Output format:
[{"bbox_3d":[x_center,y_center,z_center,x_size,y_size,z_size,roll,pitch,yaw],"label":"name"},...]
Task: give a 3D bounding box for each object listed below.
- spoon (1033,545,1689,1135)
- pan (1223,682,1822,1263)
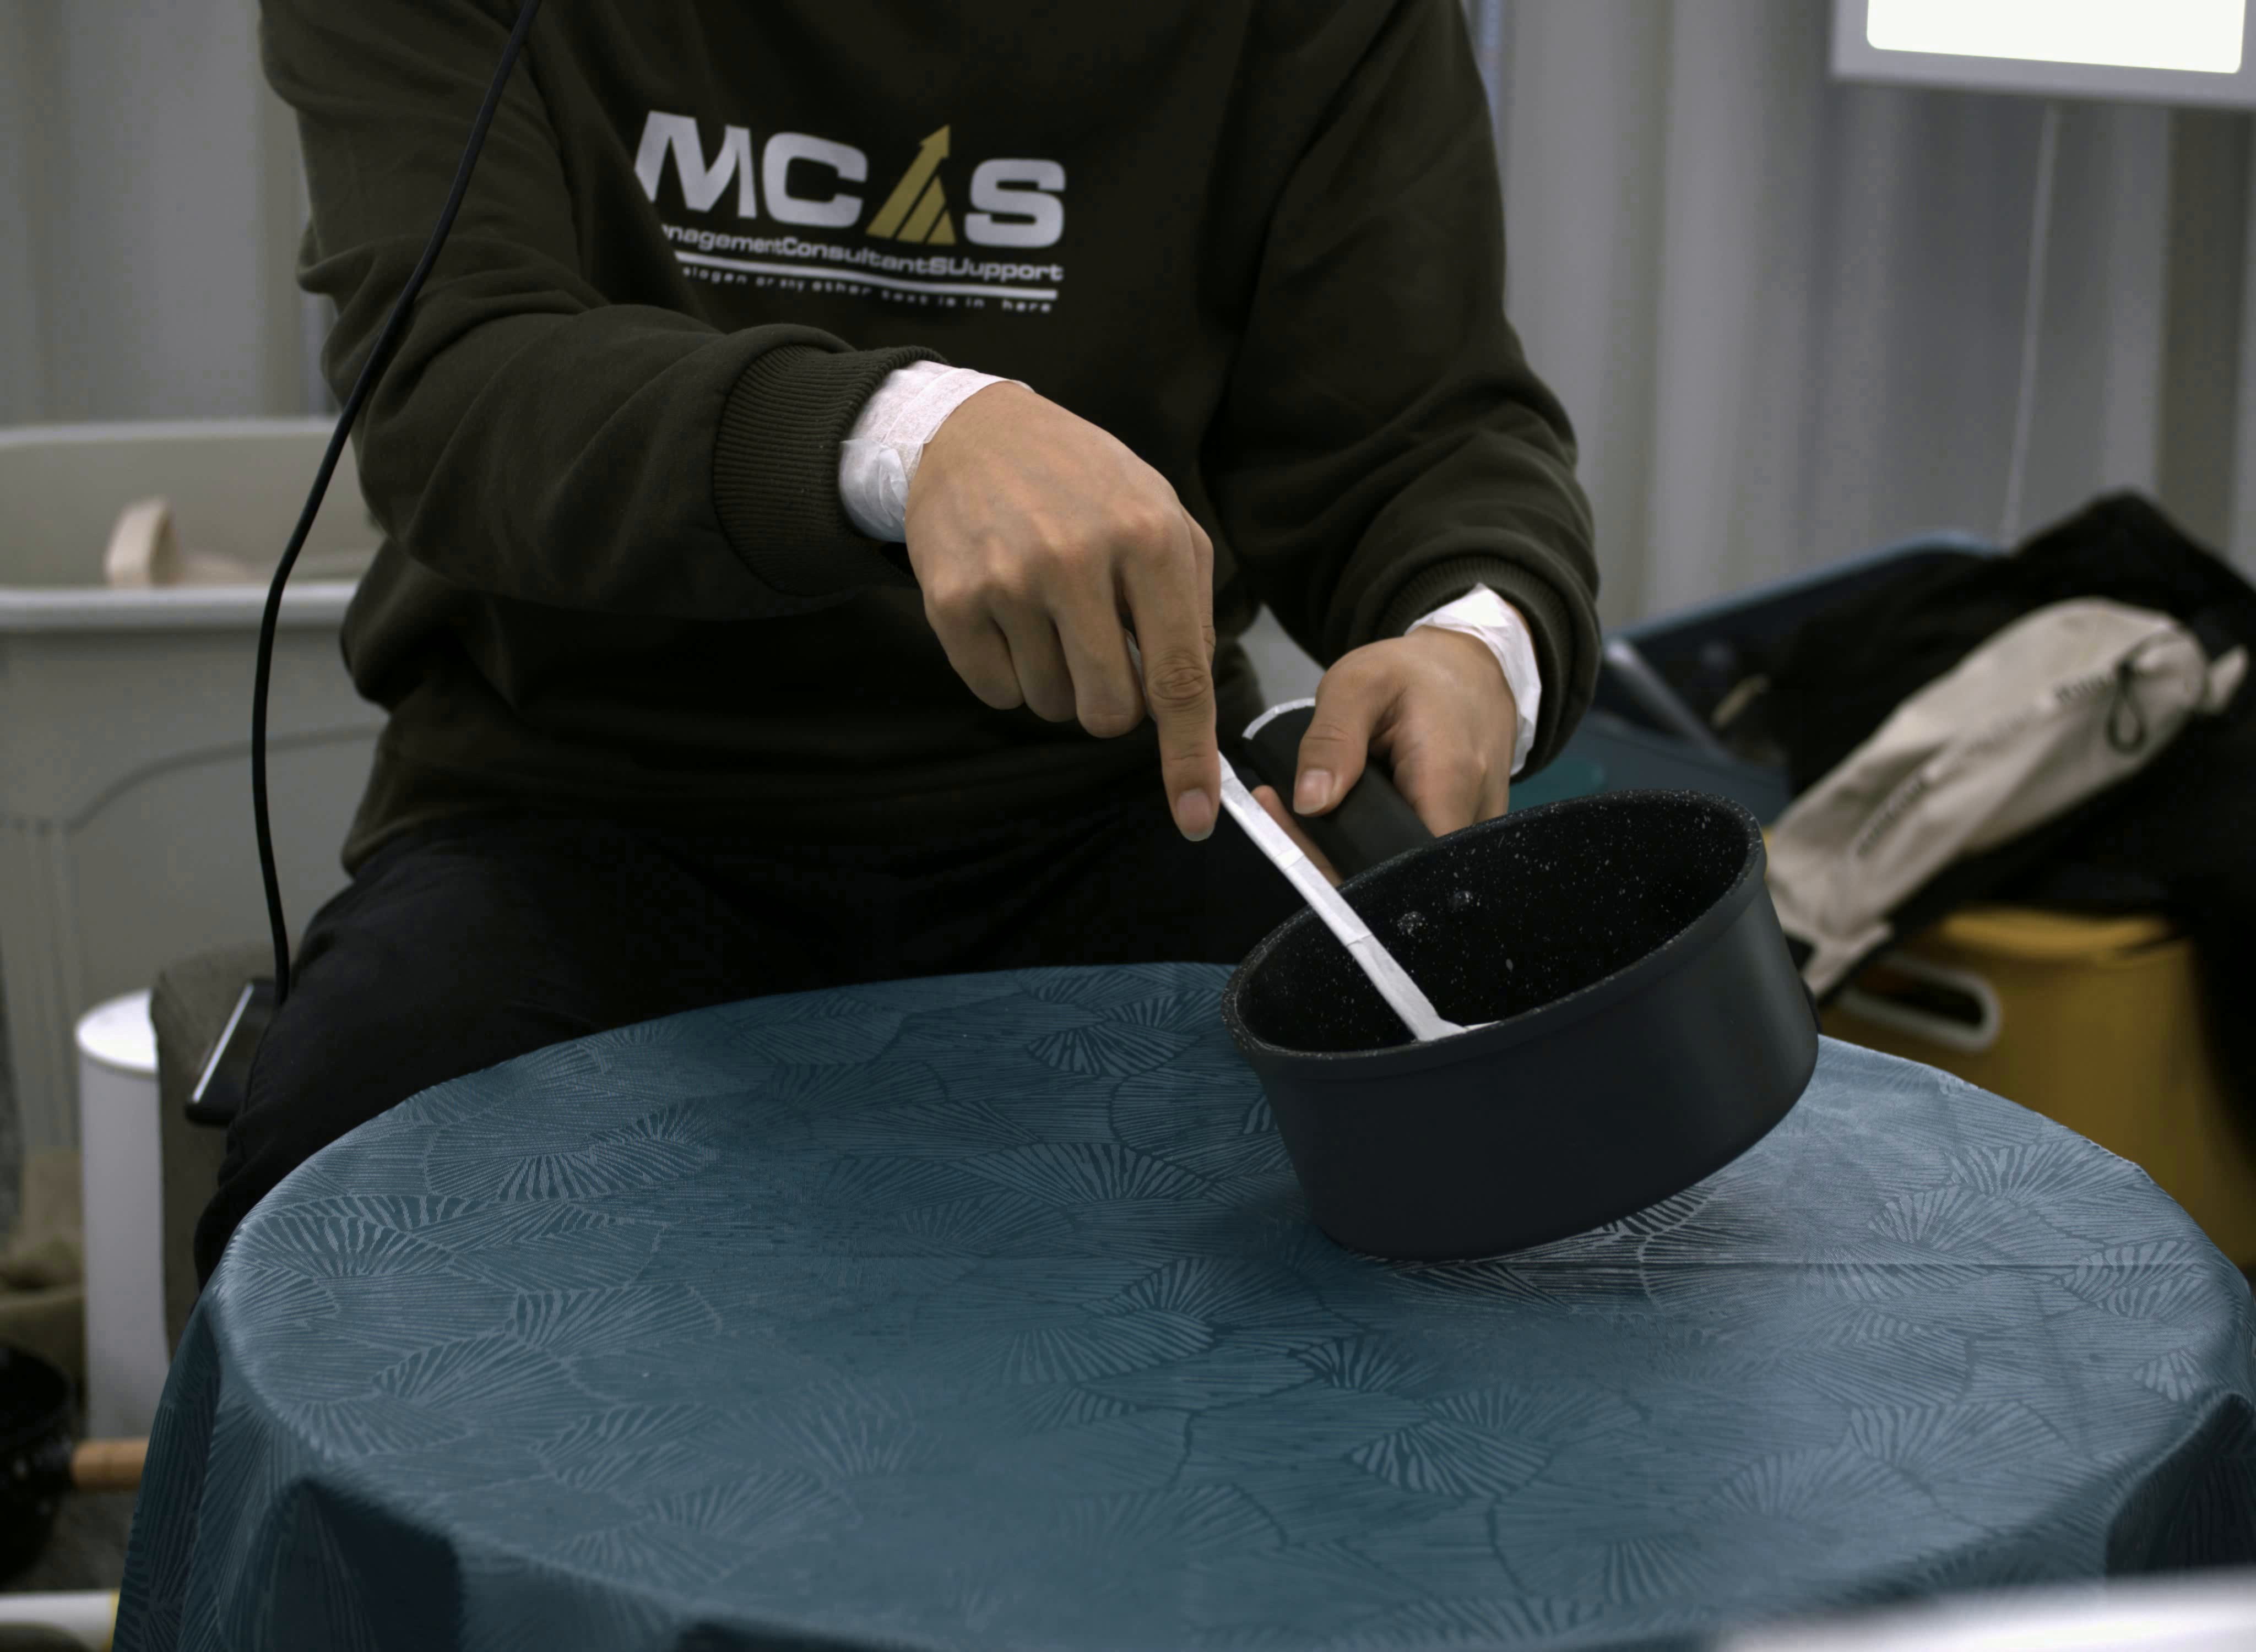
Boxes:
[{"bbox_3d":[0.071,0.000,1.594,0.275,0.059,0.101,52,29,18],"label":"spoon"},{"bbox_3d":[0.106,0.037,1.660,0.172,0.087,0.326,-21,19,-4],"label":"pan"}]
